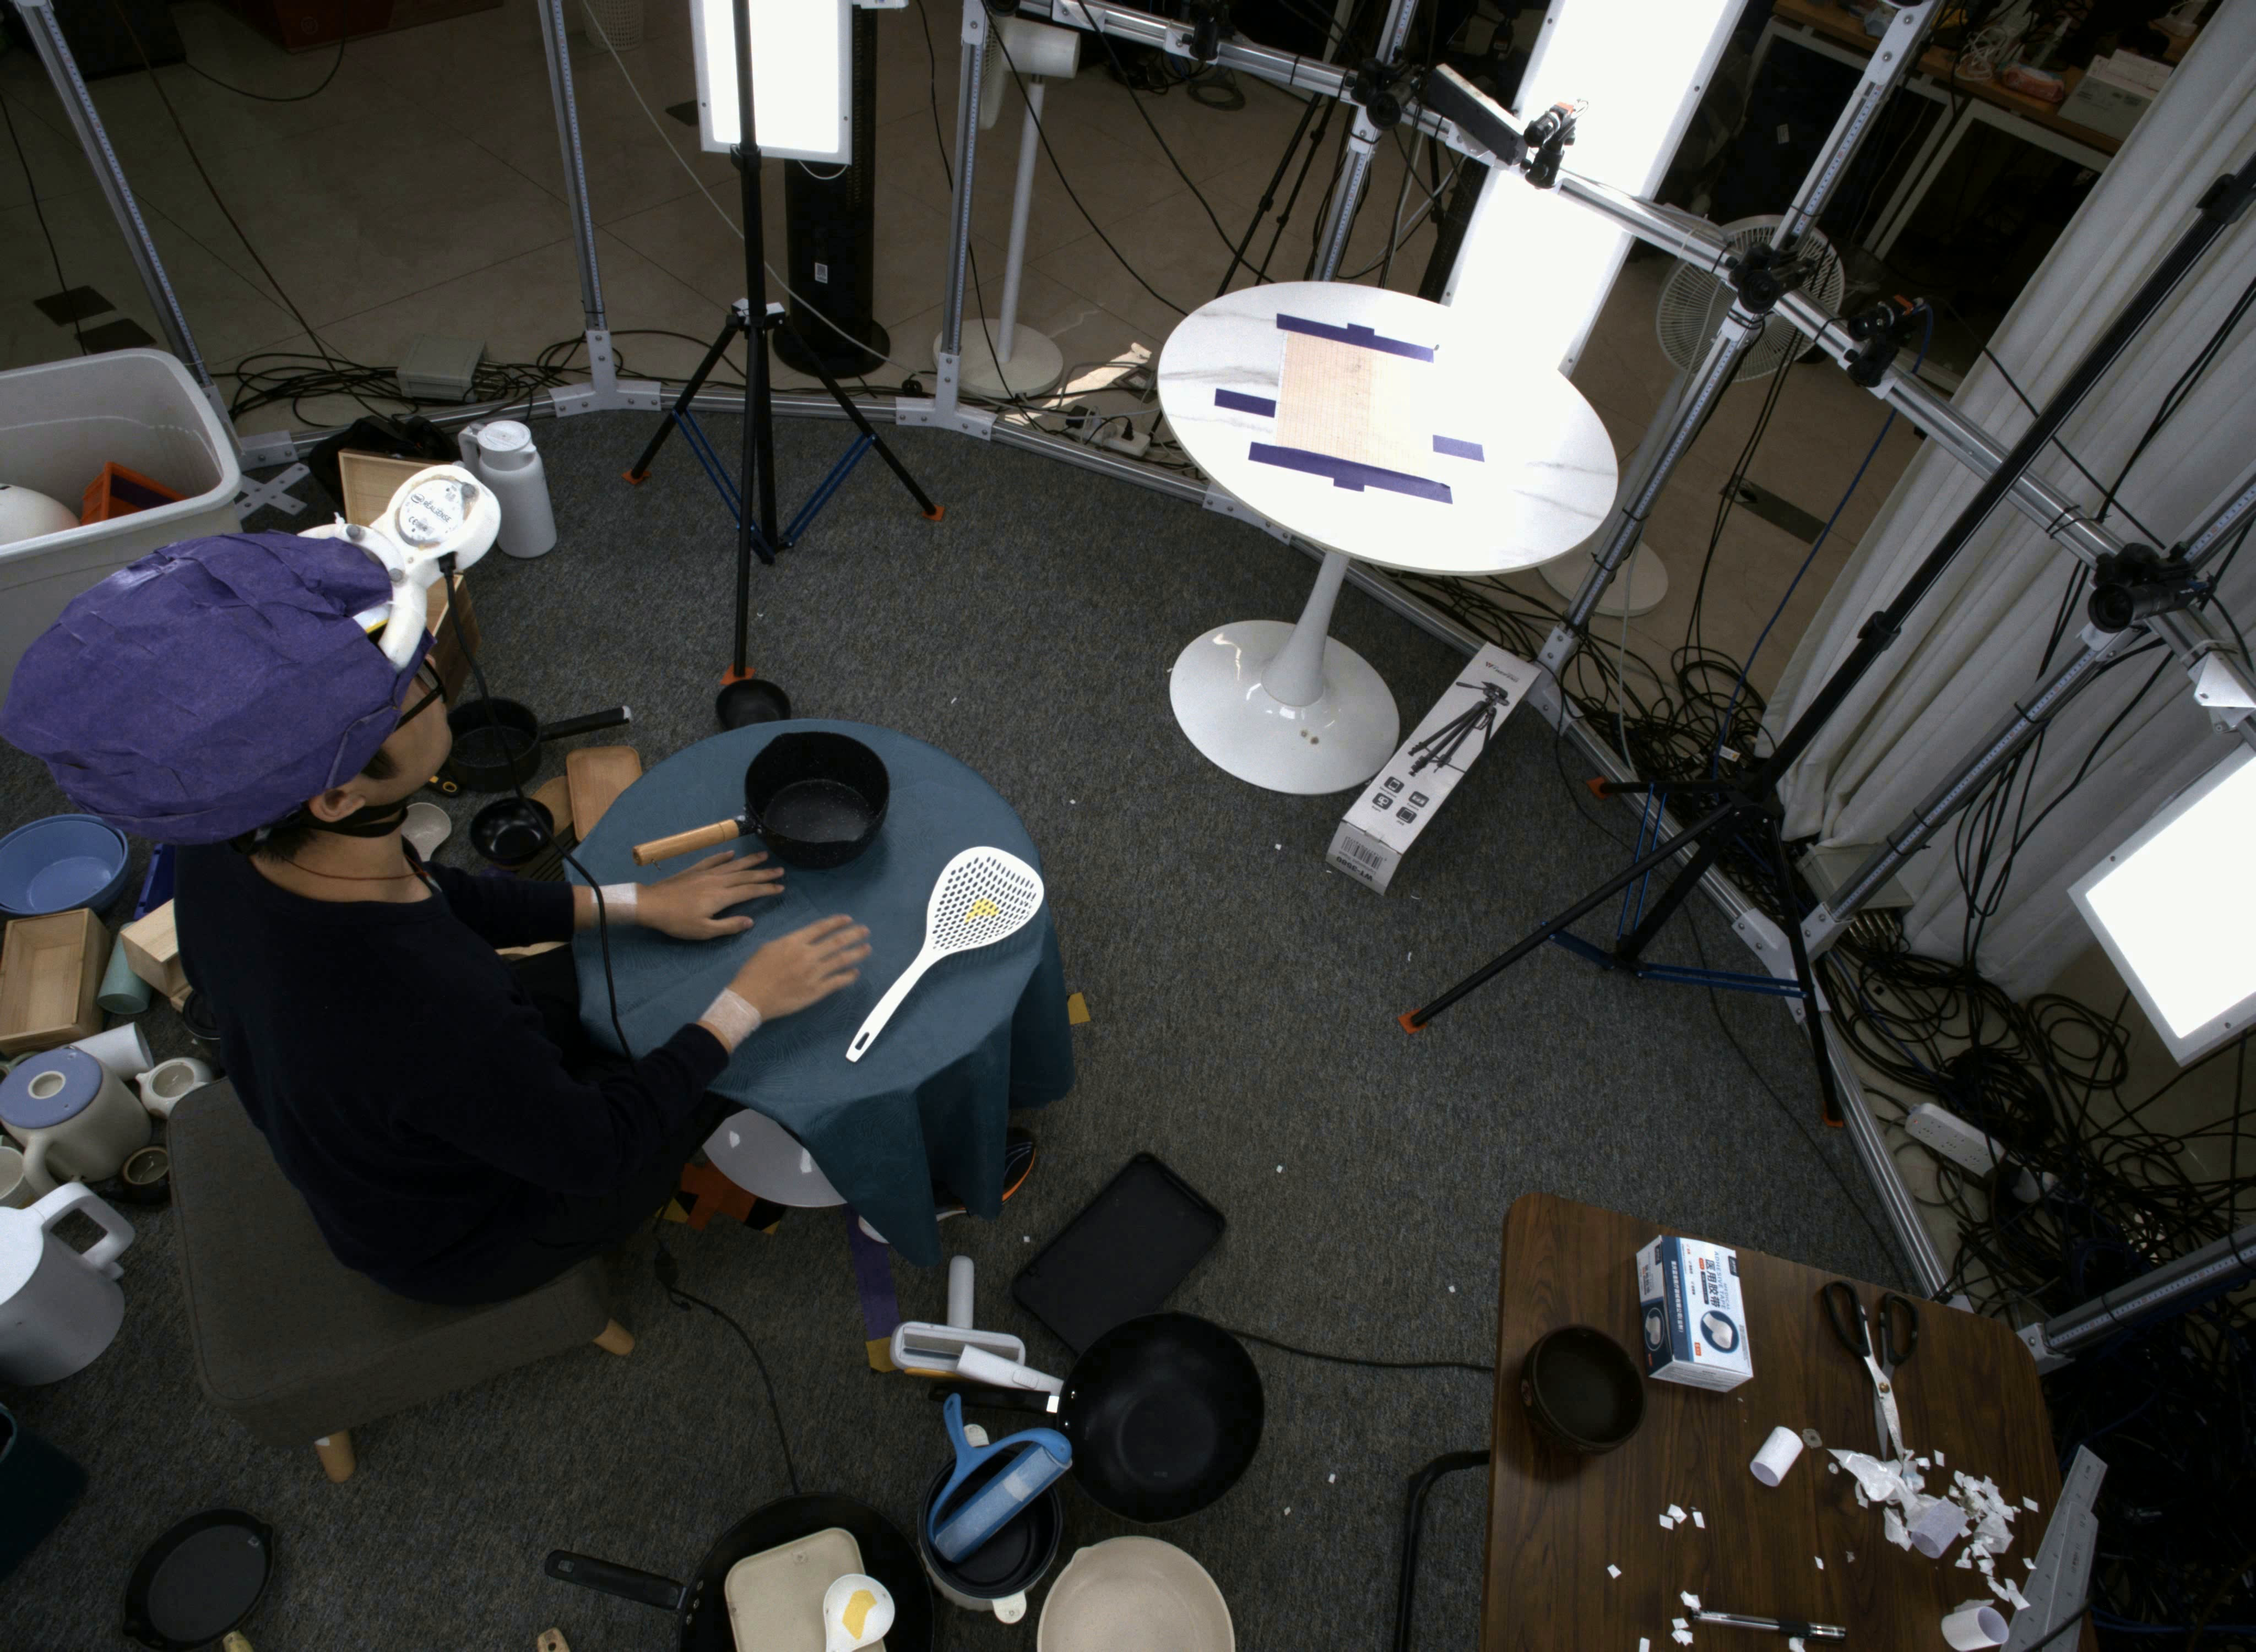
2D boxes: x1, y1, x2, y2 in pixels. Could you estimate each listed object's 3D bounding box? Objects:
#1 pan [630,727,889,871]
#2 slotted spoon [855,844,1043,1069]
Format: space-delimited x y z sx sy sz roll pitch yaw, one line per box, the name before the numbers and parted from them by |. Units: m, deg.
pan | -0.464 -0.004 1.636 0.344 0.110 0.203 -28 66 -32
slotted spoon | -0.236 0.157 1.619 0.134 0.051 0.347 30 50 11
